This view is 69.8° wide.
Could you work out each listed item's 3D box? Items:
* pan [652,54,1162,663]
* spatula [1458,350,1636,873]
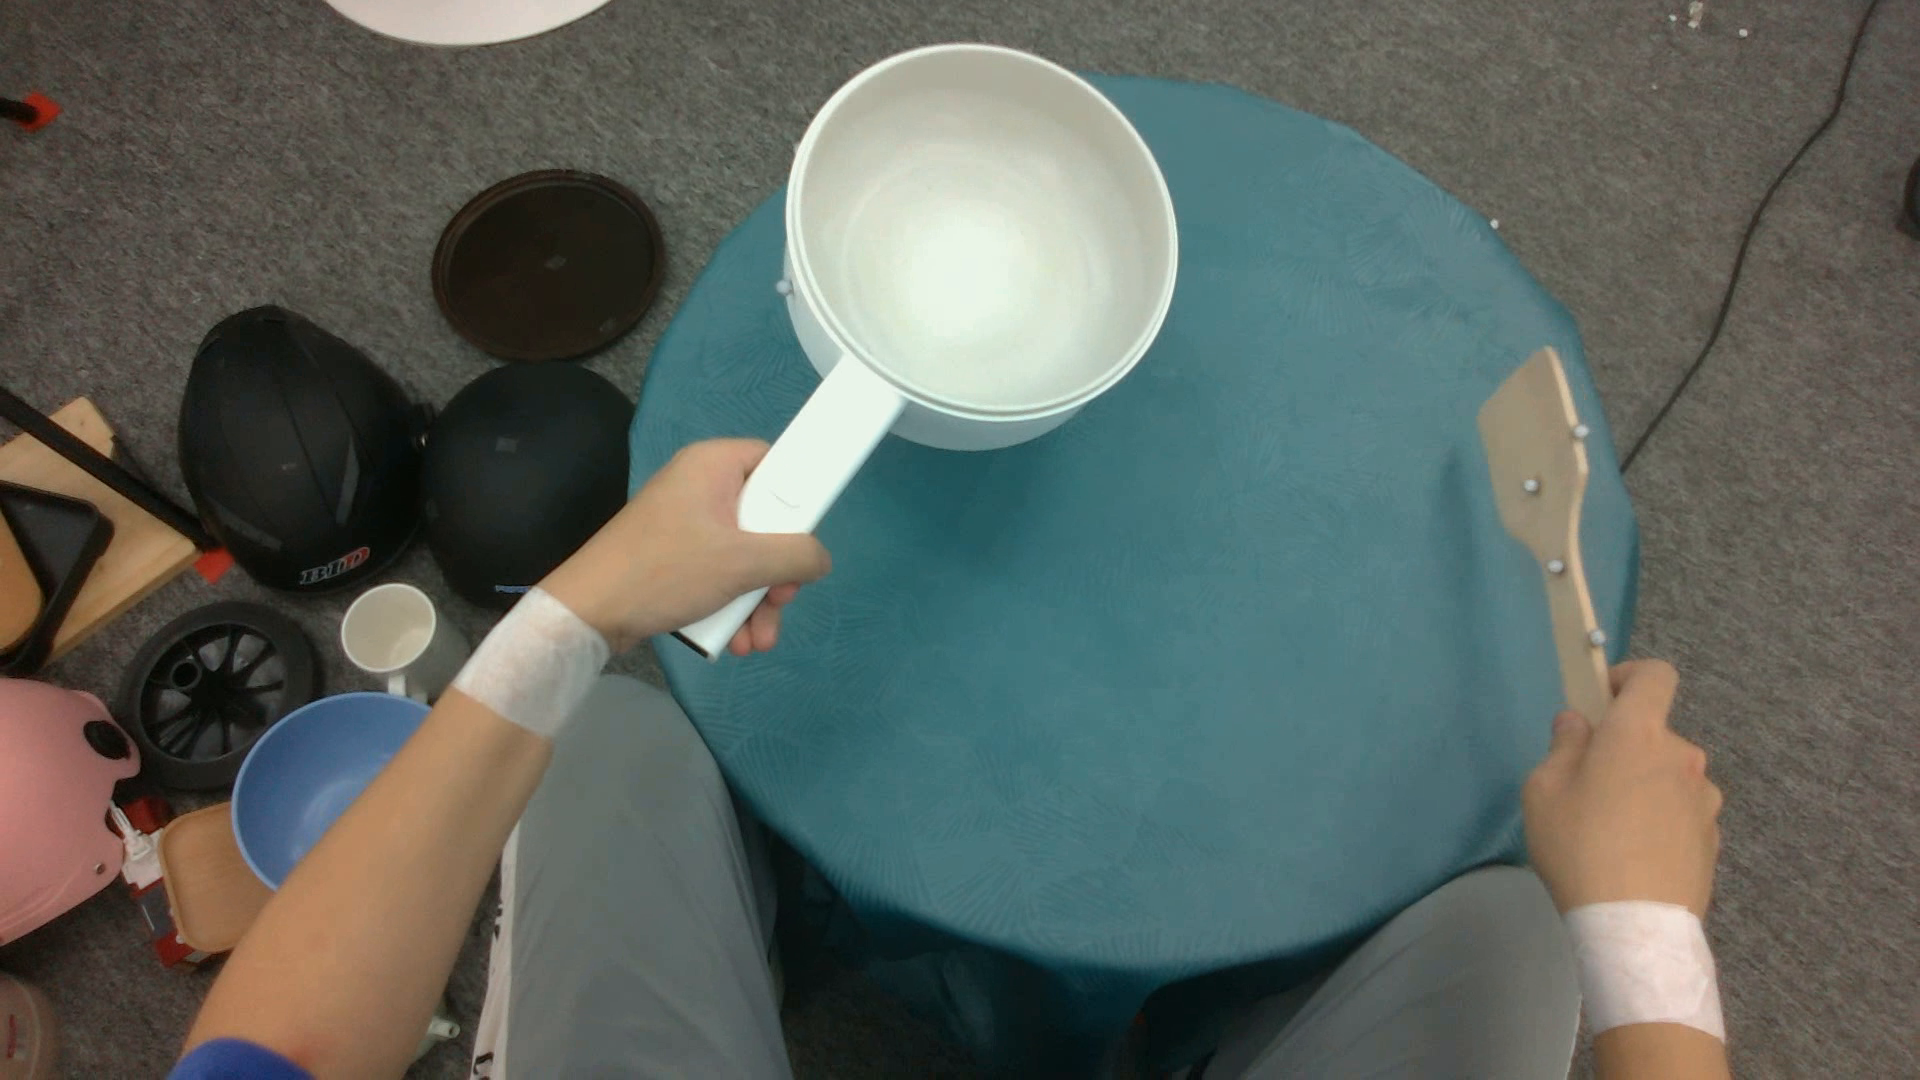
[{"bbox_3d":[-0.040,-0.088,0.726,0.201,0.102,0.356,35,73,-6],"label":"pan"},{"bbox_3d":[0.314,0.031,0.731,0.010,0.072,0.294,8,58,-13],"label":"spatula"}]
